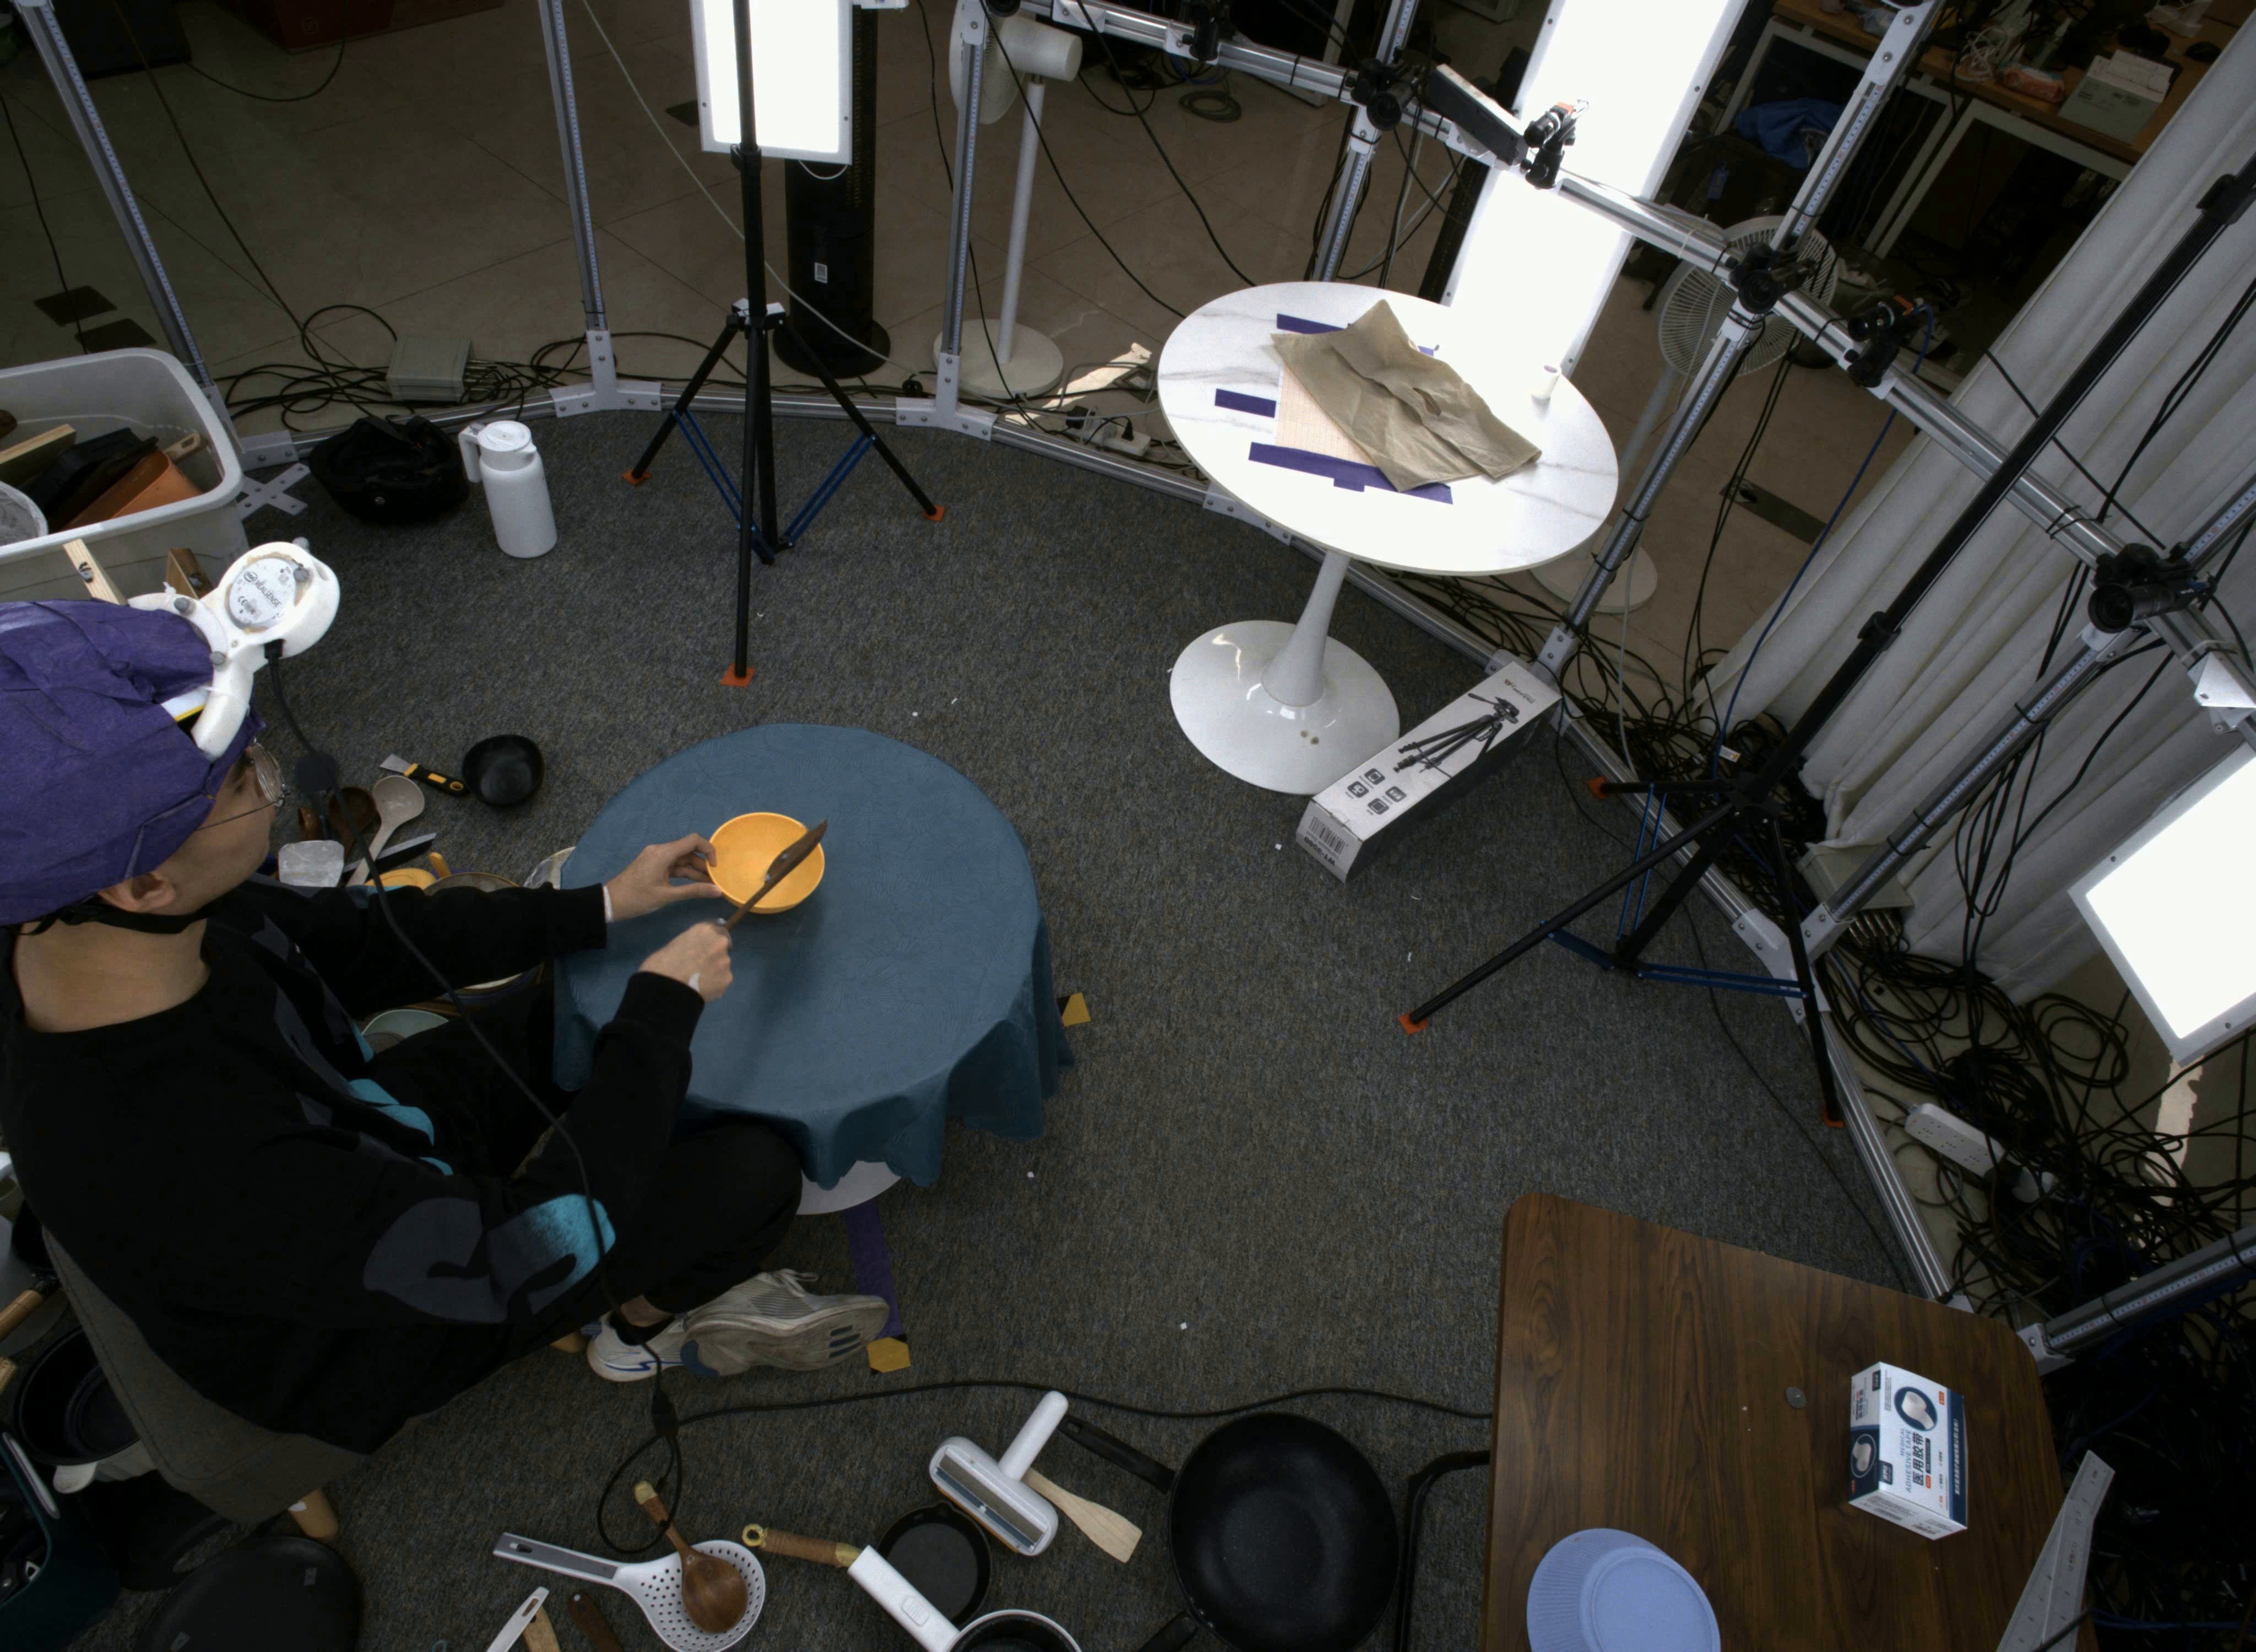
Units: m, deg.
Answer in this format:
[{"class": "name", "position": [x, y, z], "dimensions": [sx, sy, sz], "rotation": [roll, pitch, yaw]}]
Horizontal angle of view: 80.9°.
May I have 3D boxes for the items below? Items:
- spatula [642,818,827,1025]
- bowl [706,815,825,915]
[{"class": "spatula", "position": [-0.427, 0.096, 1.404], "dimensions": [0.016, 0.095, 0.382], "rotation": [51, 28, -14]}, {"class": "bowl", "position": [-0.455, 0.059, 1.628], "dimensions": [0.145, 0.061, 0.142], "rotation": [10, 51, -11]}]
